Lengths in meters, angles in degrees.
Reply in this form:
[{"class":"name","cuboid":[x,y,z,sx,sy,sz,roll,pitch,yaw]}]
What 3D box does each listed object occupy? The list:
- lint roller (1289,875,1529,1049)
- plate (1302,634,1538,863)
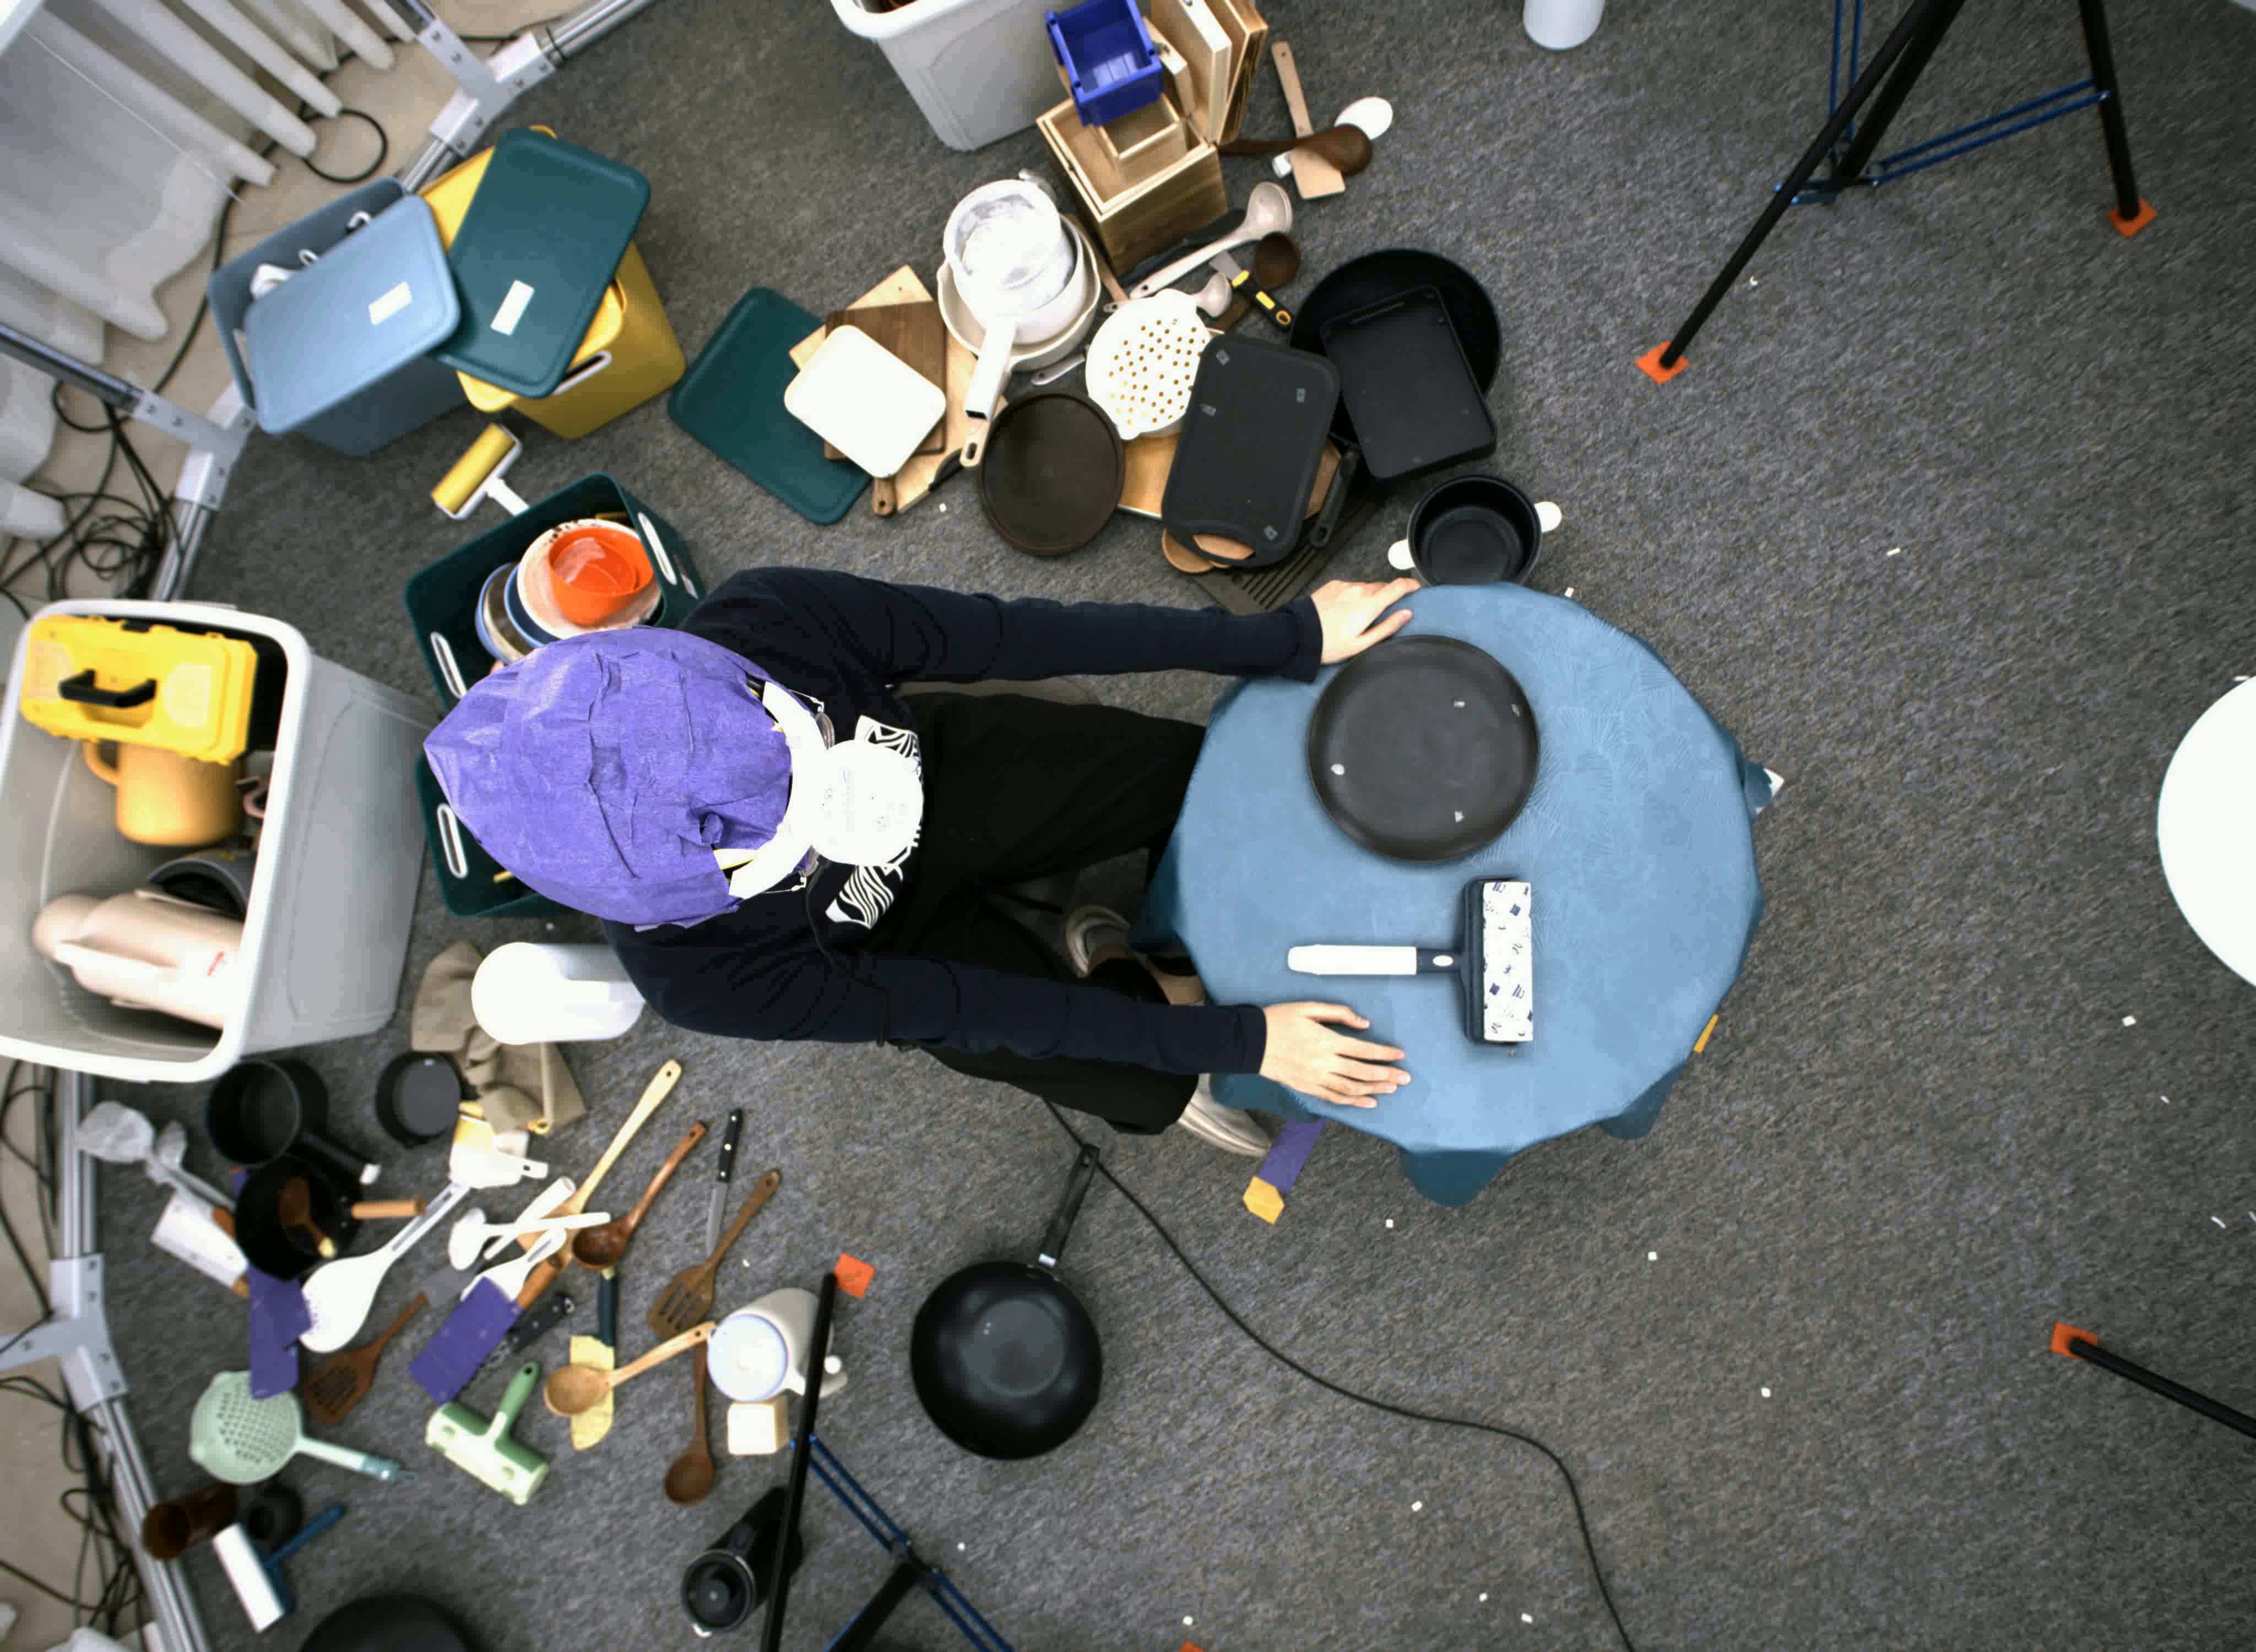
[{"class":"lint roller","cuboid":[0.289,0.139,1.433,0.248,0.050,0.175,-1,87,14]},{"class":"plate","cuboid":[0.307,-0.083,1.450,0.245,0.023,0.243,-1,87,11]}]
